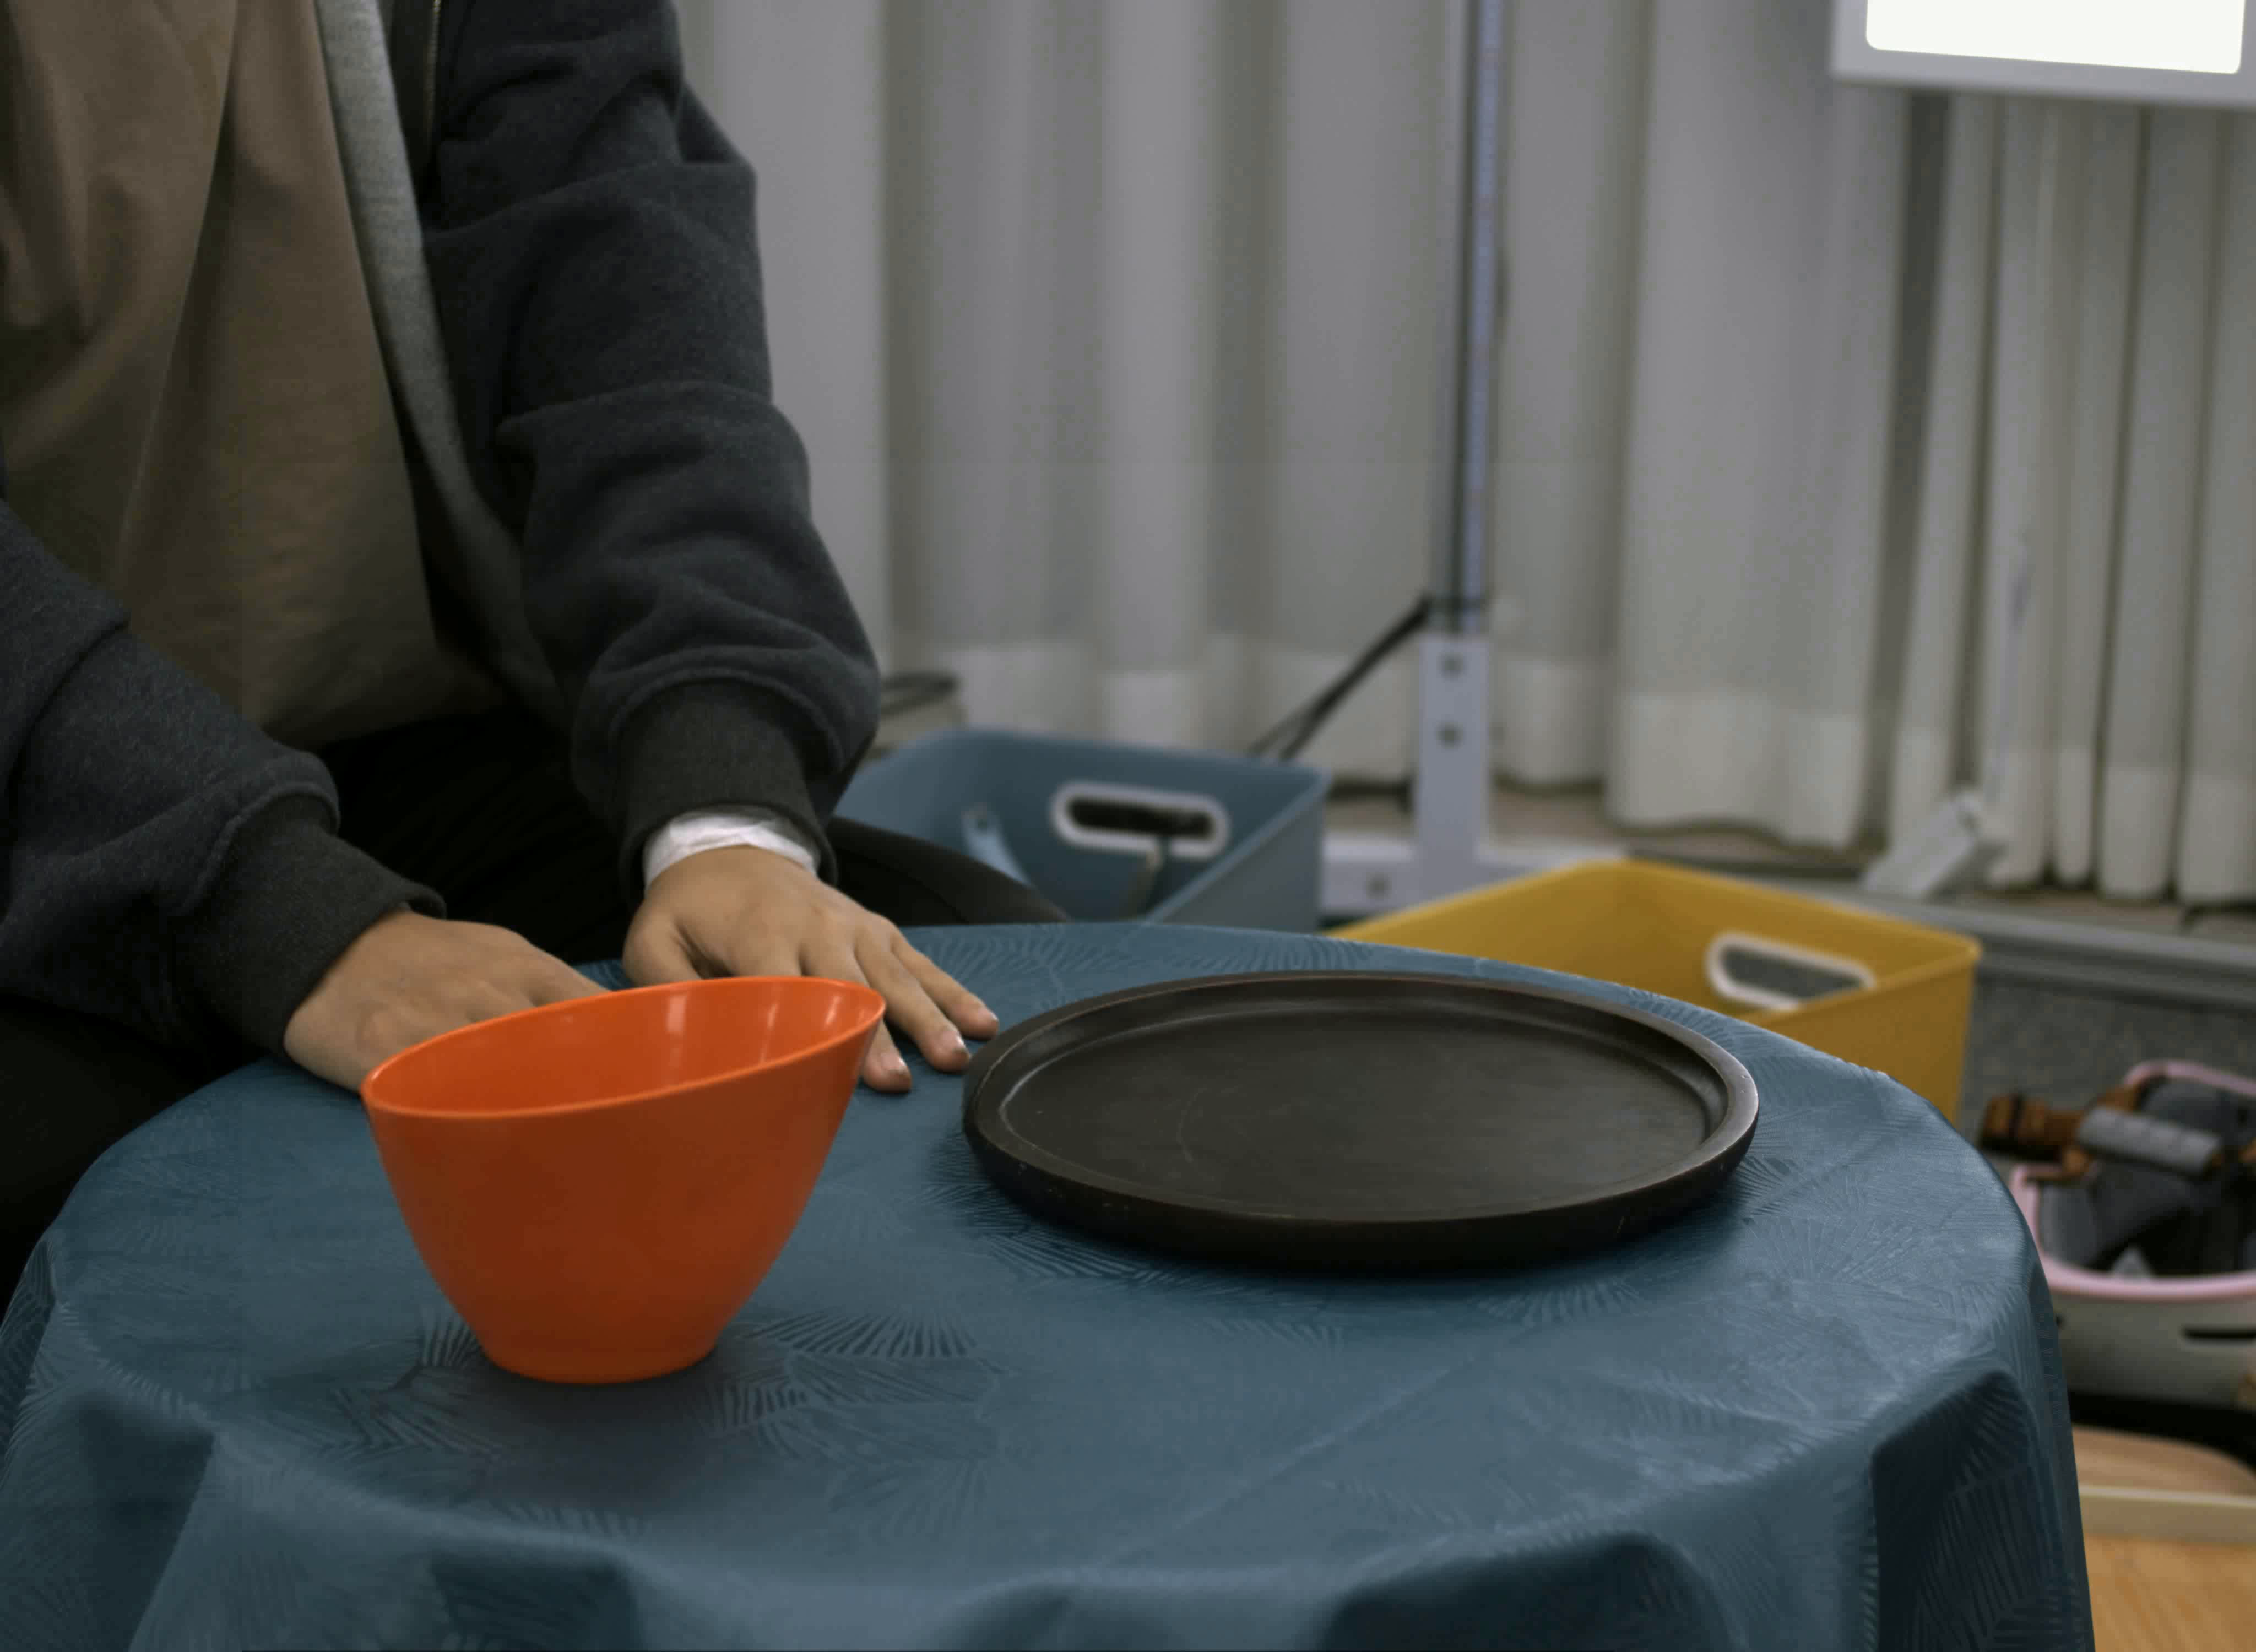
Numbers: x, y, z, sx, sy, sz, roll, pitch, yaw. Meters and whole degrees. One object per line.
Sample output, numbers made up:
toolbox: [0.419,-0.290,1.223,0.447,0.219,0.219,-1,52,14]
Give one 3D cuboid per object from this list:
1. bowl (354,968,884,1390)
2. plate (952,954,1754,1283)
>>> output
bowl: [-0.141,0.099,1.473,0.147,0.105,0.147,0,18,1]
plate: [0.071,0.091,1.657,0.254,0.029,0.253,0,17,1]
